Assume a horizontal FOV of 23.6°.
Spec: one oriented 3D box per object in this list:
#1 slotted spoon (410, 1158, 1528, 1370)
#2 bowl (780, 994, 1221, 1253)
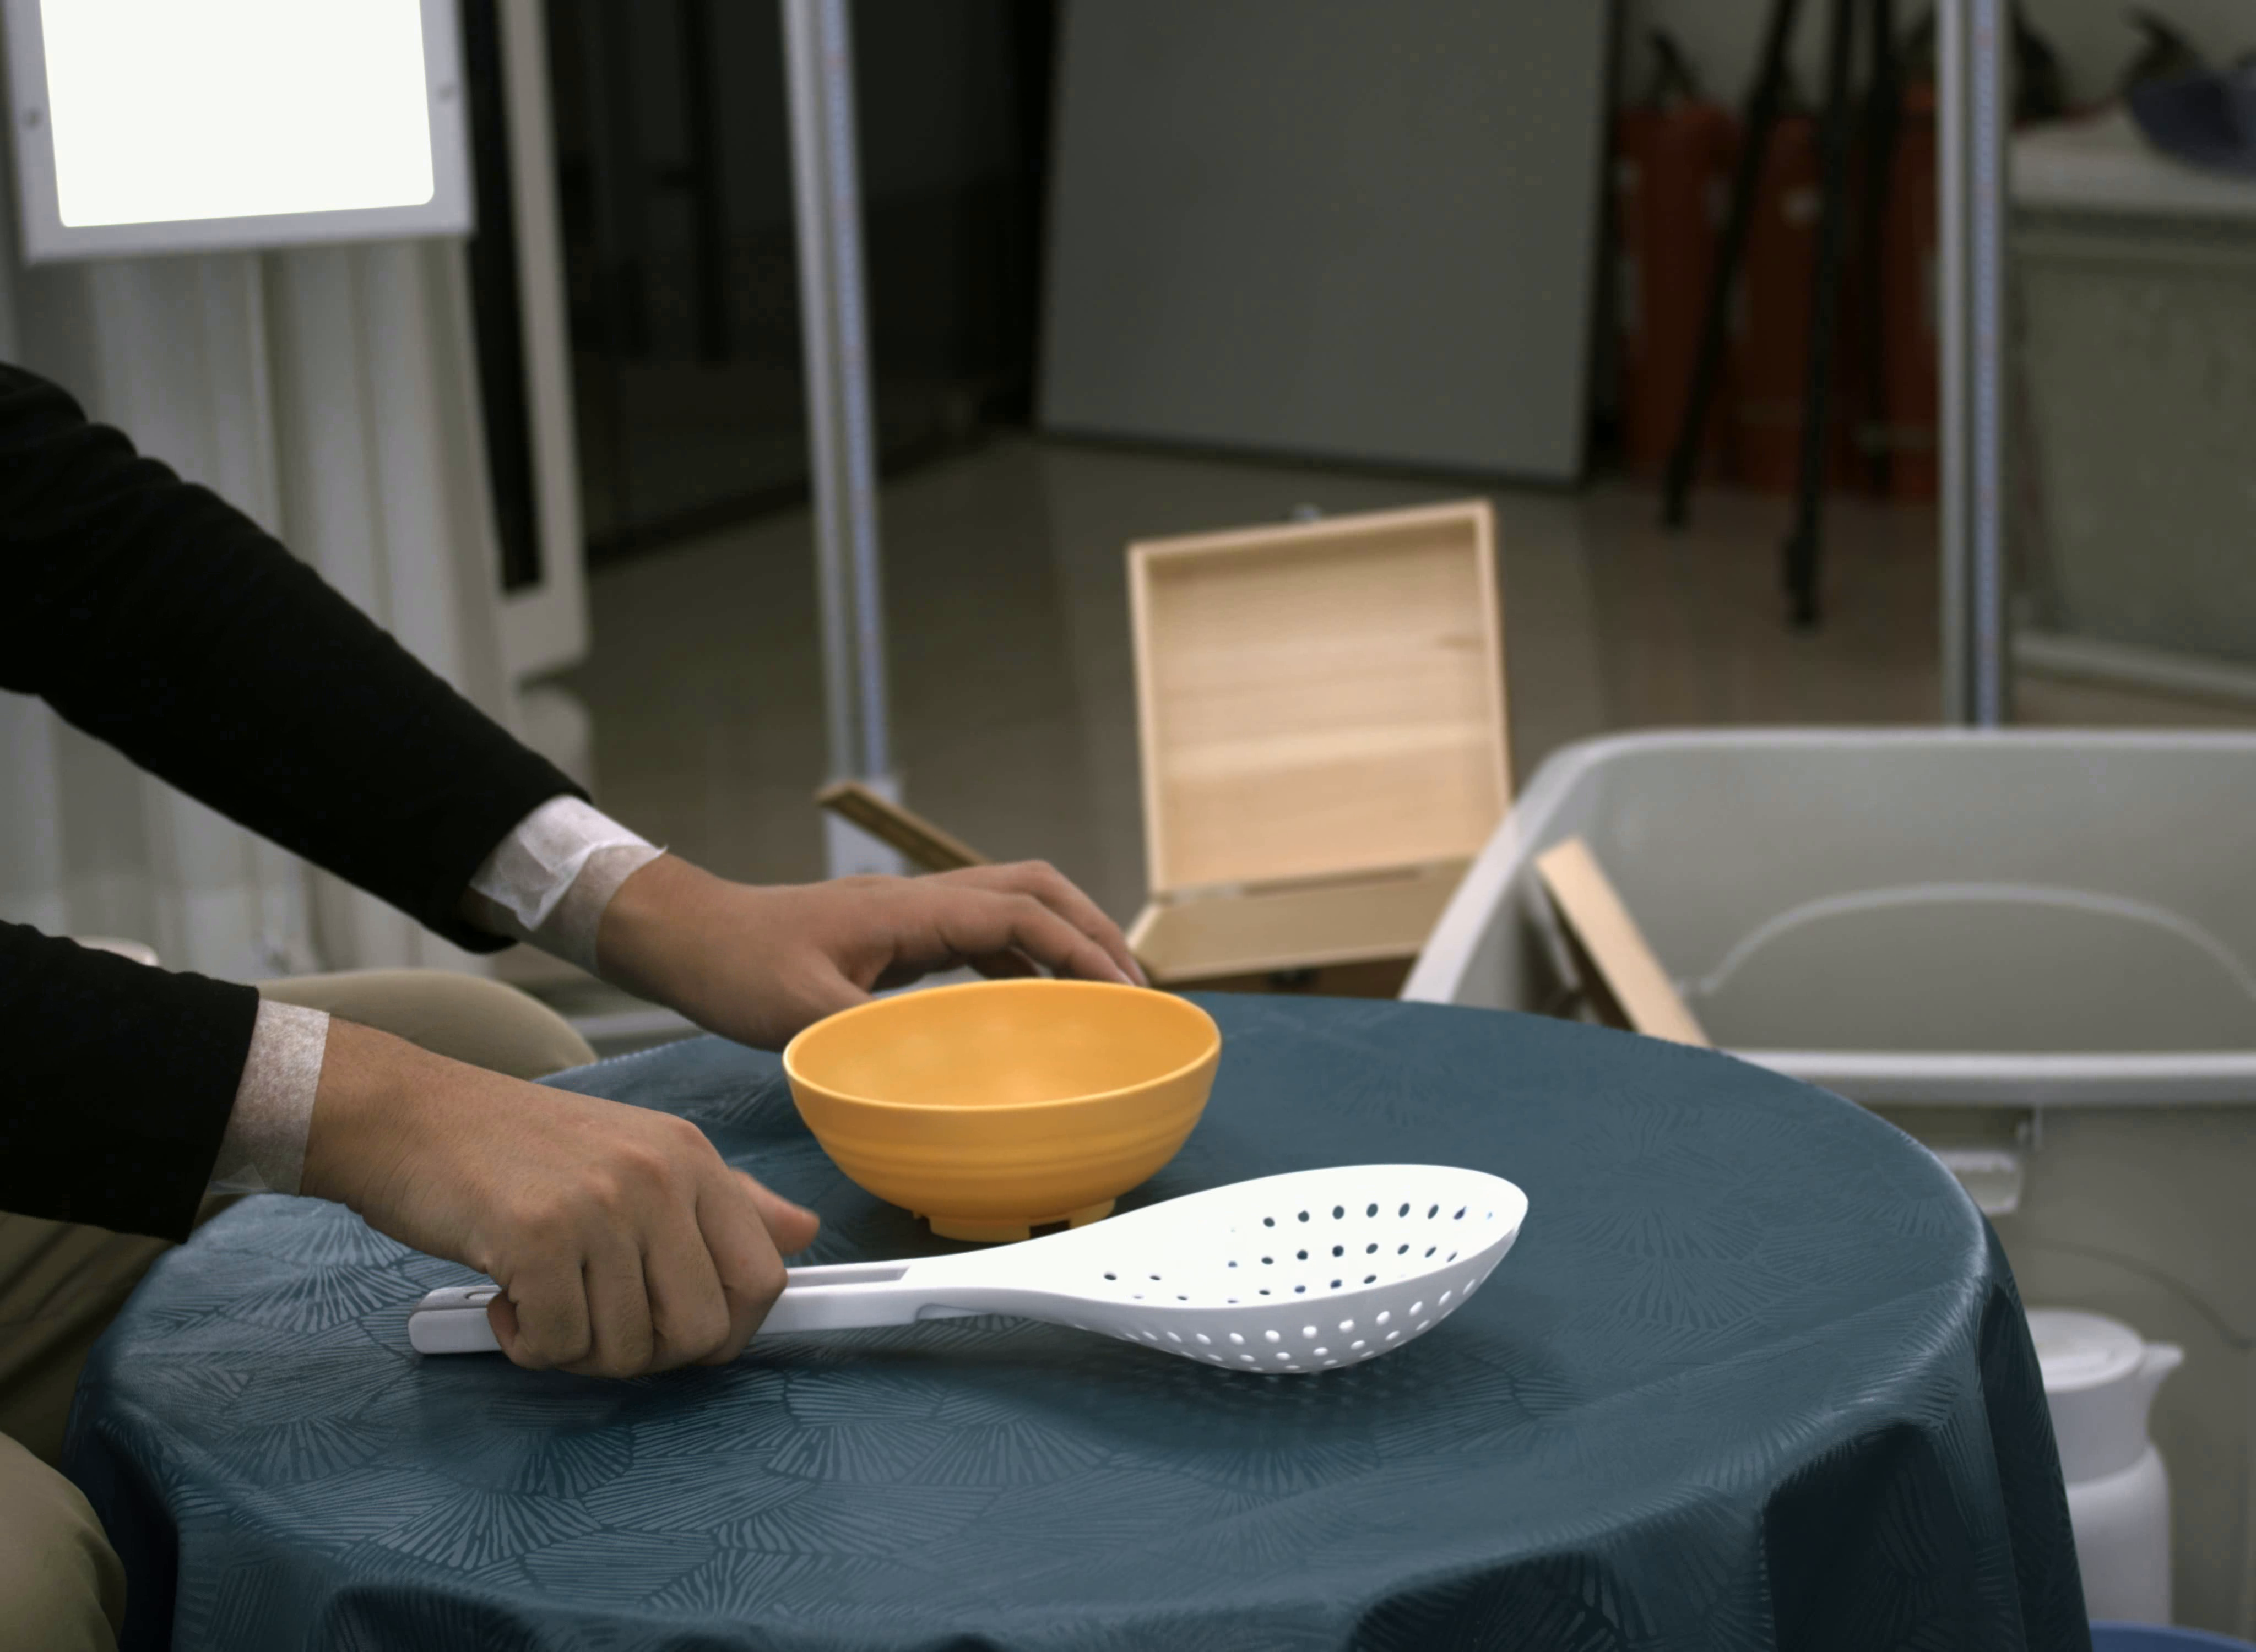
[{"bbox_3d":[-0.050,0.138,1.620,0.348,0.046,0.135,-2,13,14],"label":"slotted spoon"},{"bbox_3d":[-0.040,0.100,1.751,0.143,0.061,0.145,-2,12,0],"label":"bowl"}]
